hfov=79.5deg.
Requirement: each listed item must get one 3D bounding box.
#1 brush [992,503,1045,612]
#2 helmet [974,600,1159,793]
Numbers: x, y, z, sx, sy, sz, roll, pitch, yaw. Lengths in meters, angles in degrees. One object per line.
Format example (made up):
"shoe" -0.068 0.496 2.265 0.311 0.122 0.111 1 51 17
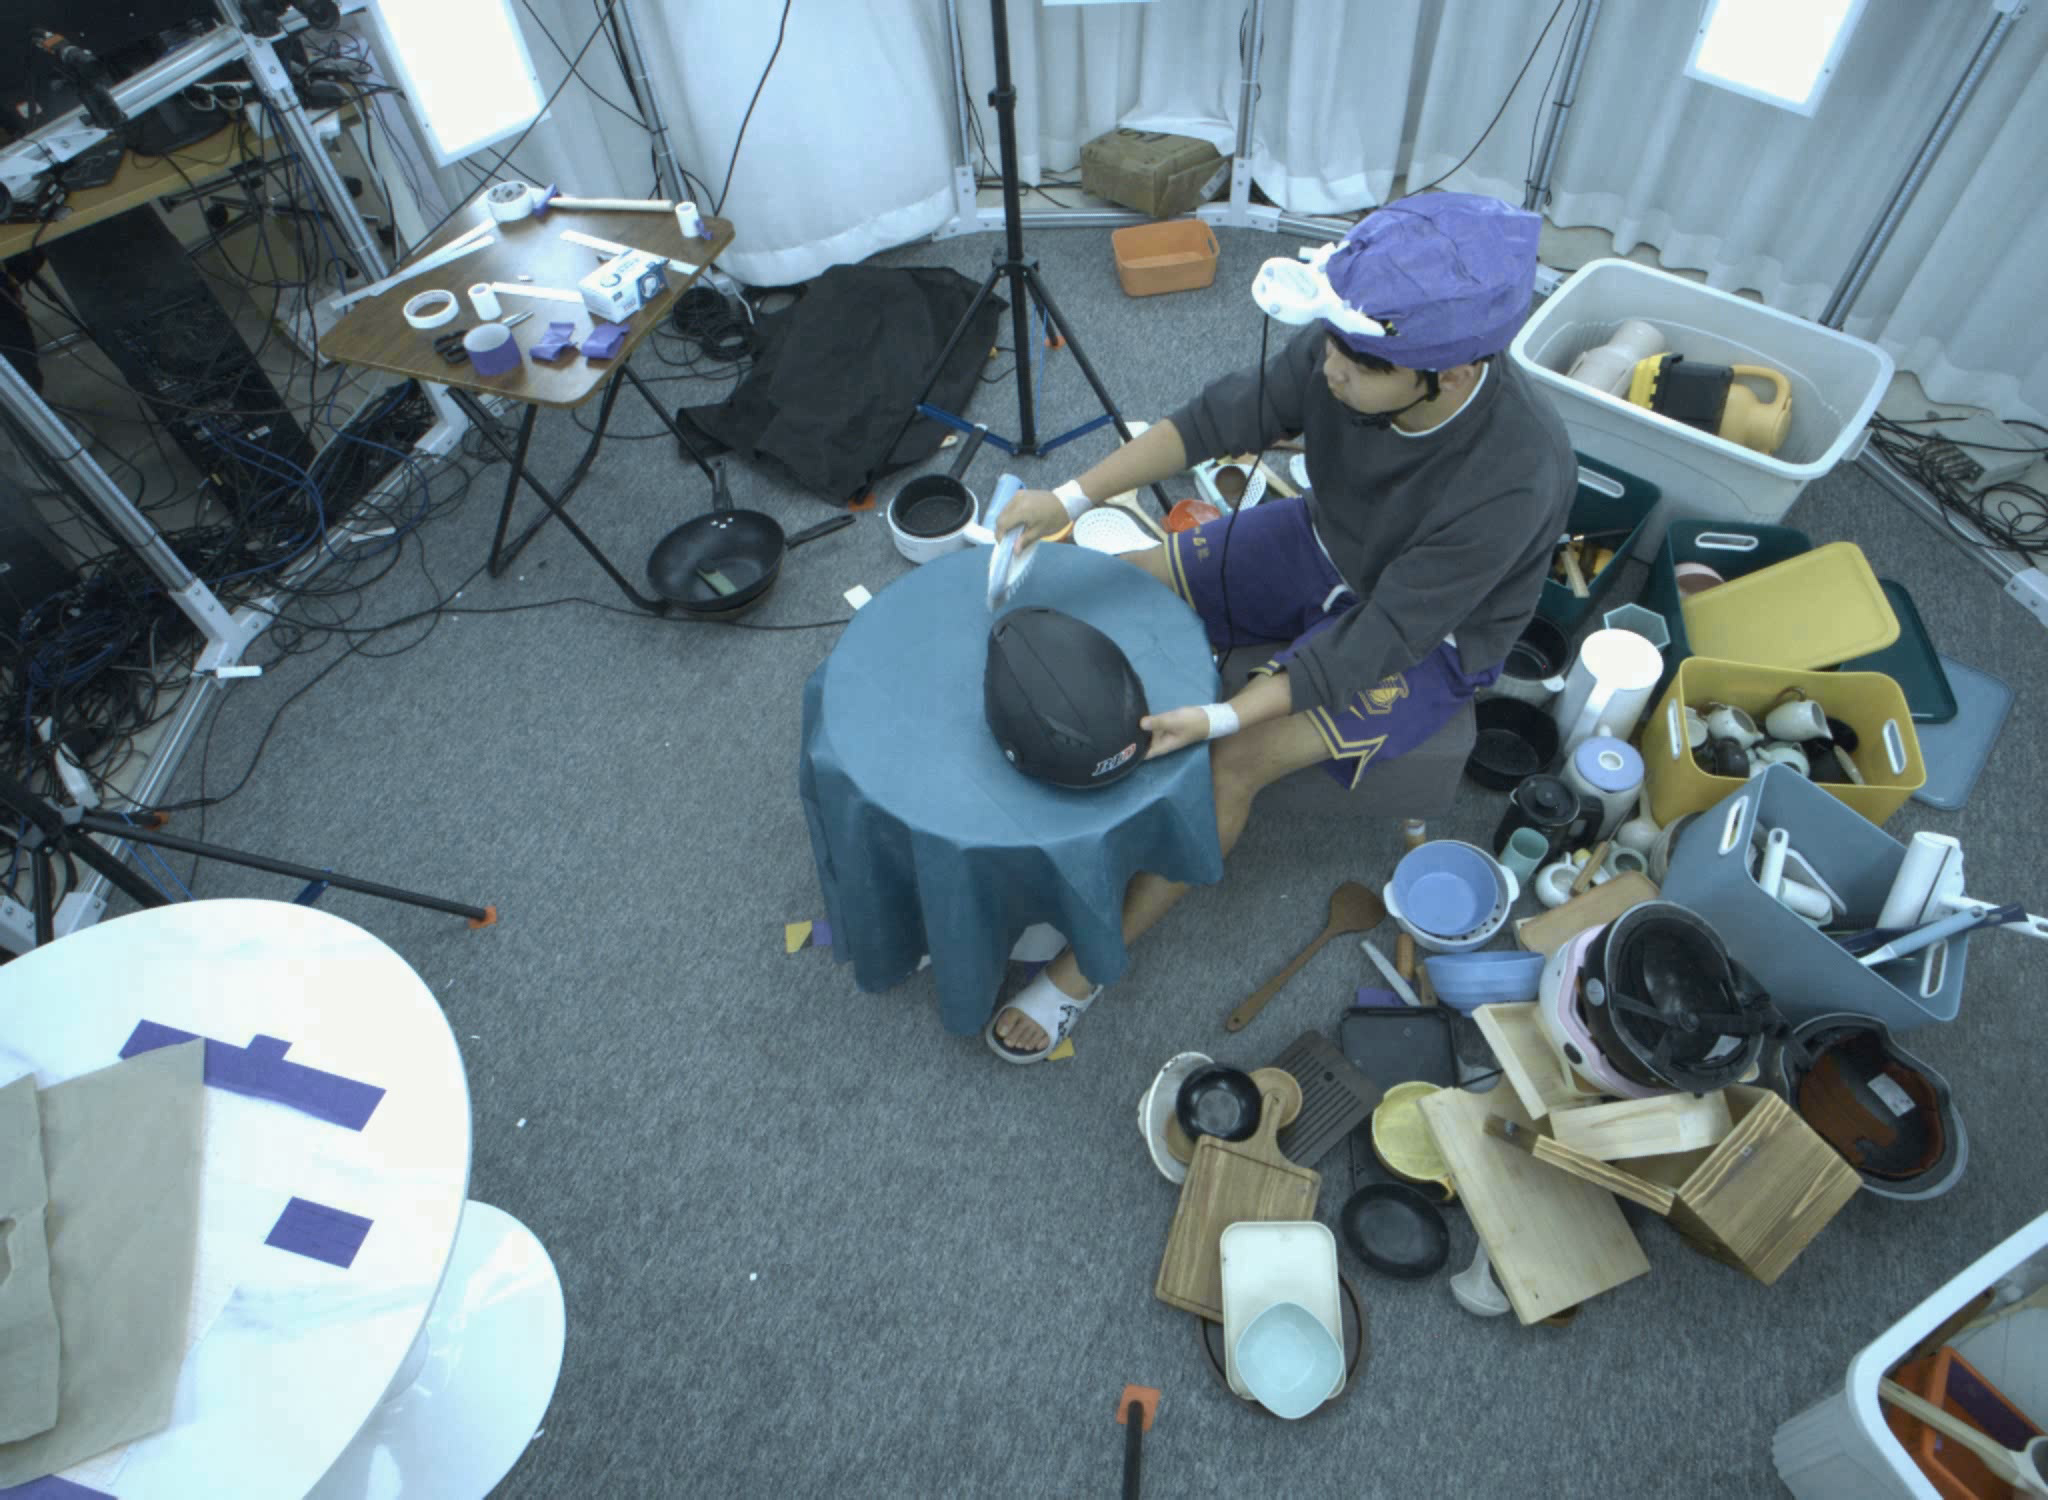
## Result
"brush" -0.017 -0.302 1.872 0.061 0.095 0.175 16 61 9
"helmet" 0.054 -0.085 1.751 0.248 0.174 0.271 -28 54 -15
